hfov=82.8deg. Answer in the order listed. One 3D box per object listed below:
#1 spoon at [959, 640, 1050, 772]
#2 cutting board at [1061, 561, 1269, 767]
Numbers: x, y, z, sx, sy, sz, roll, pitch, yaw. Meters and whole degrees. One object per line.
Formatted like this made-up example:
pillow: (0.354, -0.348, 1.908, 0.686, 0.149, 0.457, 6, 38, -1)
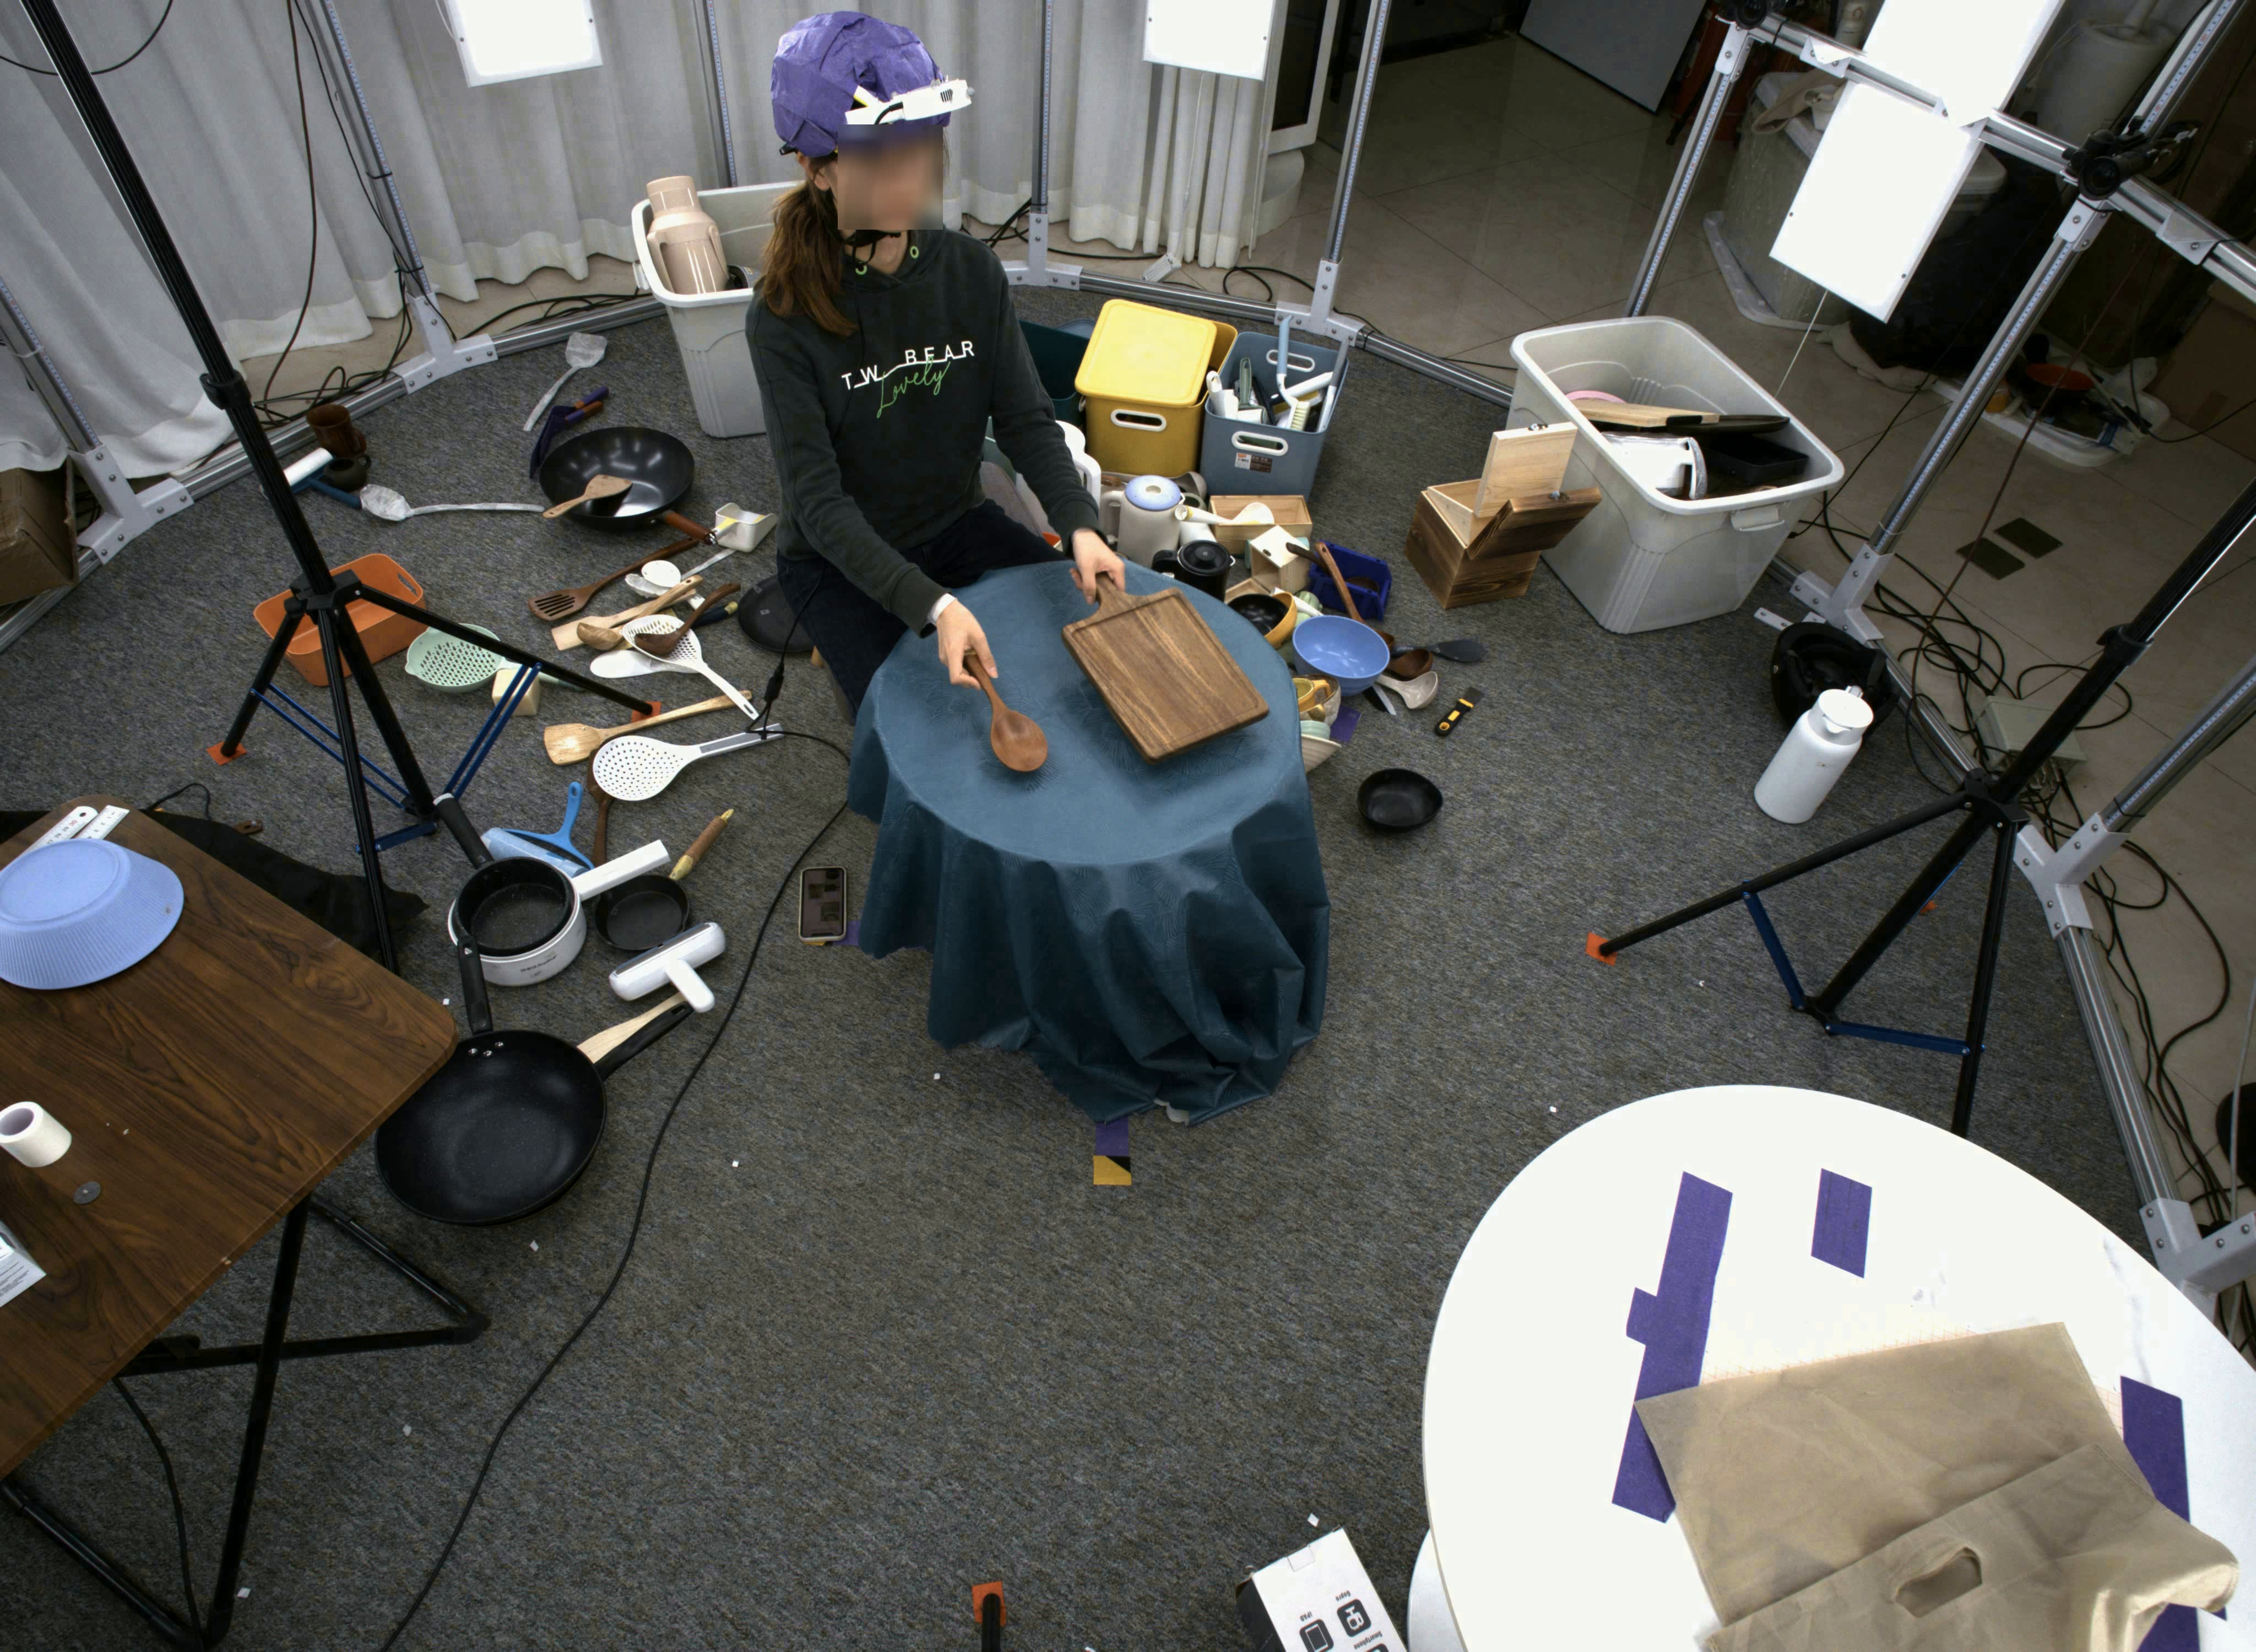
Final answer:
spoon: (-0.175, -0.164, 1.746, 0.076, 0.017, 0.219, -23, 72, -19)
cutting board: (0.026, -0.251, 1.813, 0.202, 0.023, 0.359, -23, 61, -20)
